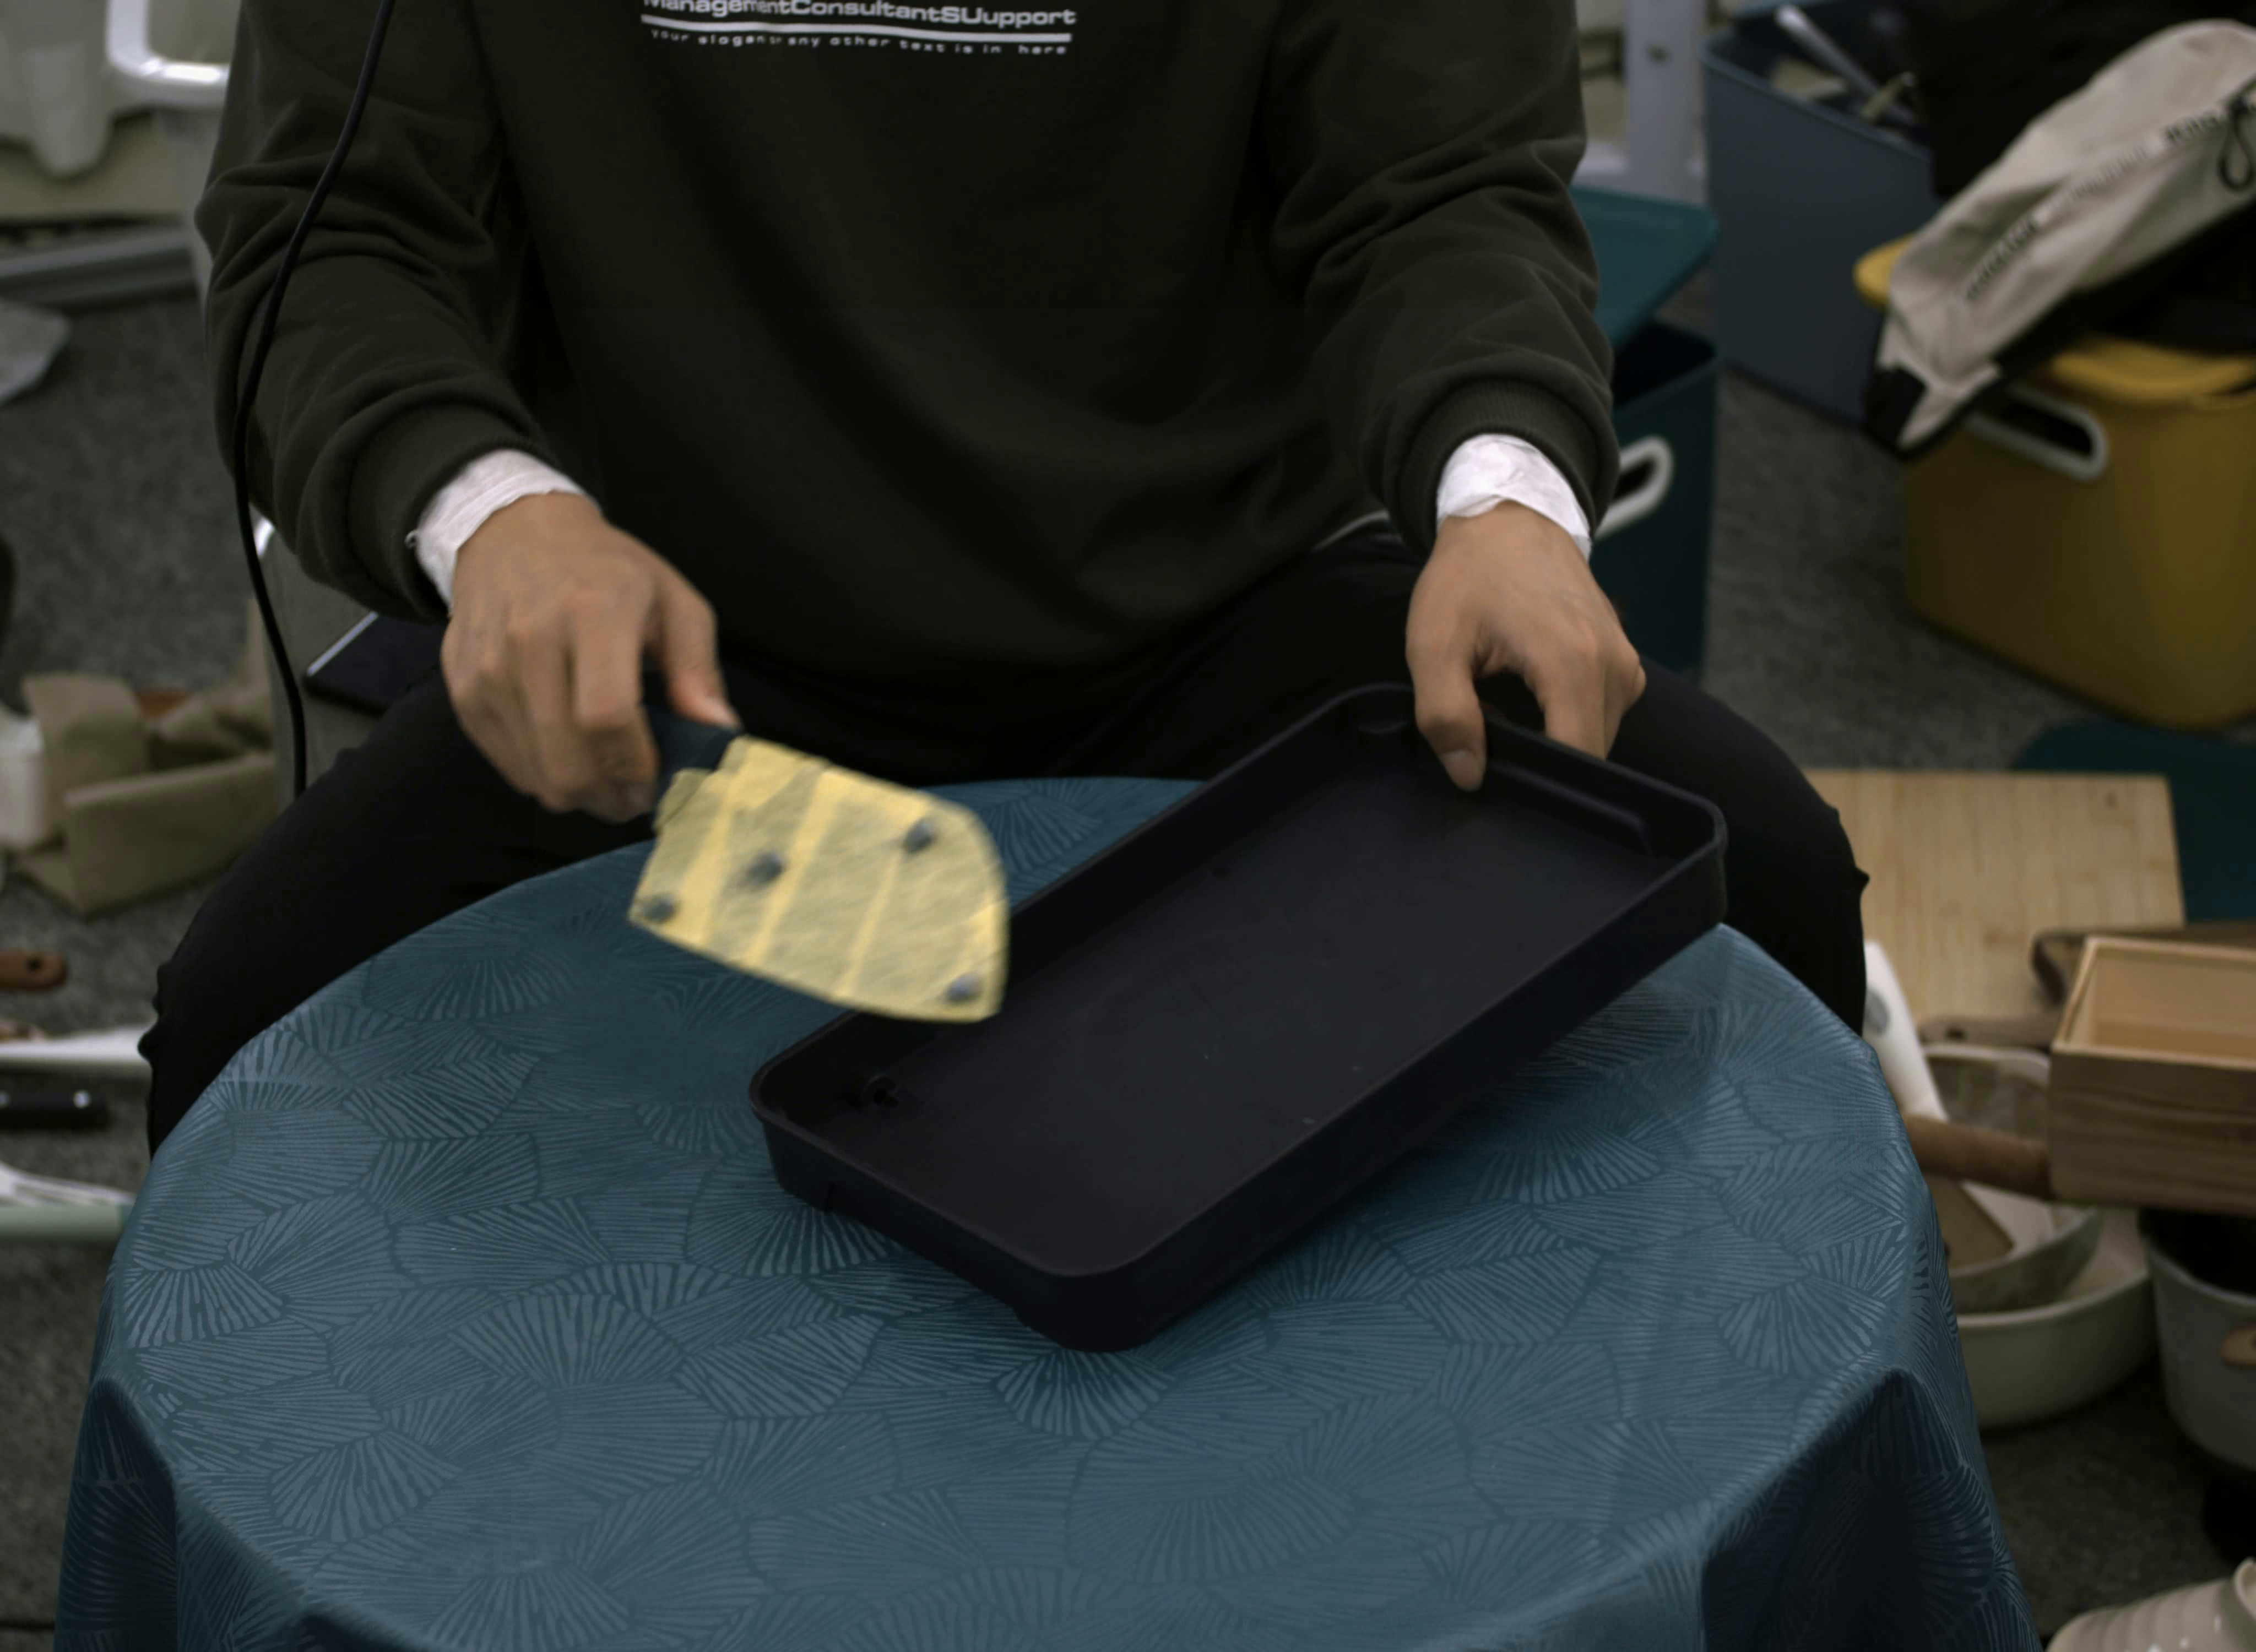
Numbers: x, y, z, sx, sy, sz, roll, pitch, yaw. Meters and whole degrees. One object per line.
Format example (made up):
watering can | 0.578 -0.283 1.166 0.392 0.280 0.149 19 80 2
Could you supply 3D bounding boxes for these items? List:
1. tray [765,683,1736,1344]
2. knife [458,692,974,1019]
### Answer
tray | 0.046 0.056 1.904 0.184 0.036 0.322 21 43 41
knife | -0.143 0.007 1.880 0.289 0.081 0.027 22 -9 47
